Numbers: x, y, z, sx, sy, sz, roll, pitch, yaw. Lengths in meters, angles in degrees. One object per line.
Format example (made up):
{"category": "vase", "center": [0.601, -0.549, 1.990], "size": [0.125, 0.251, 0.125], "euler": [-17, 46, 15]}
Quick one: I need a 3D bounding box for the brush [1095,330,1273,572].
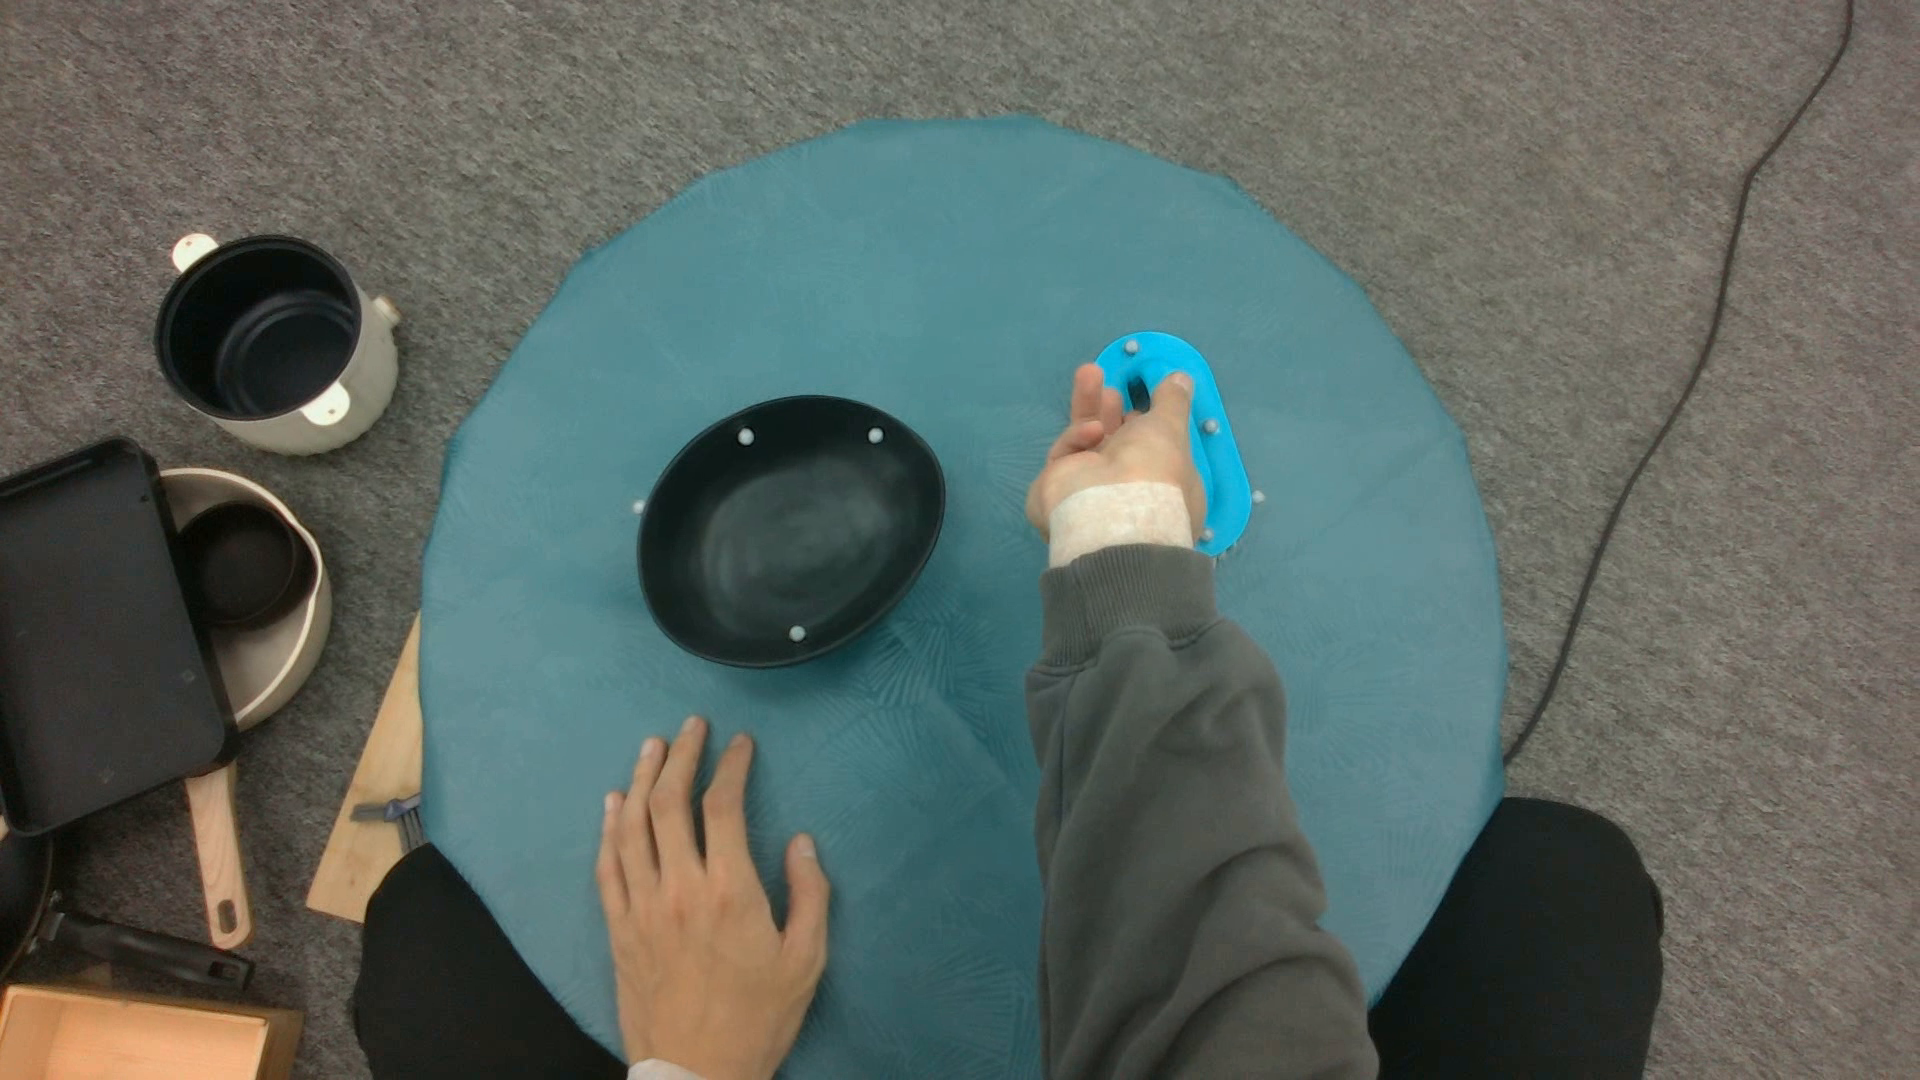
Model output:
{"category": "brush", "center": [0.124, -0.054, 0.771], "size": [0.084, 0.063, 0.142], "euler": [-13, 73, 0]}

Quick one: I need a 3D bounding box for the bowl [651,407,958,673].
{"category": "bowl", "center": [-0.083, 0.003, 0.749], "size": [0.170, 0.066, 0.137], "euler": [-35, 78, -13]}
